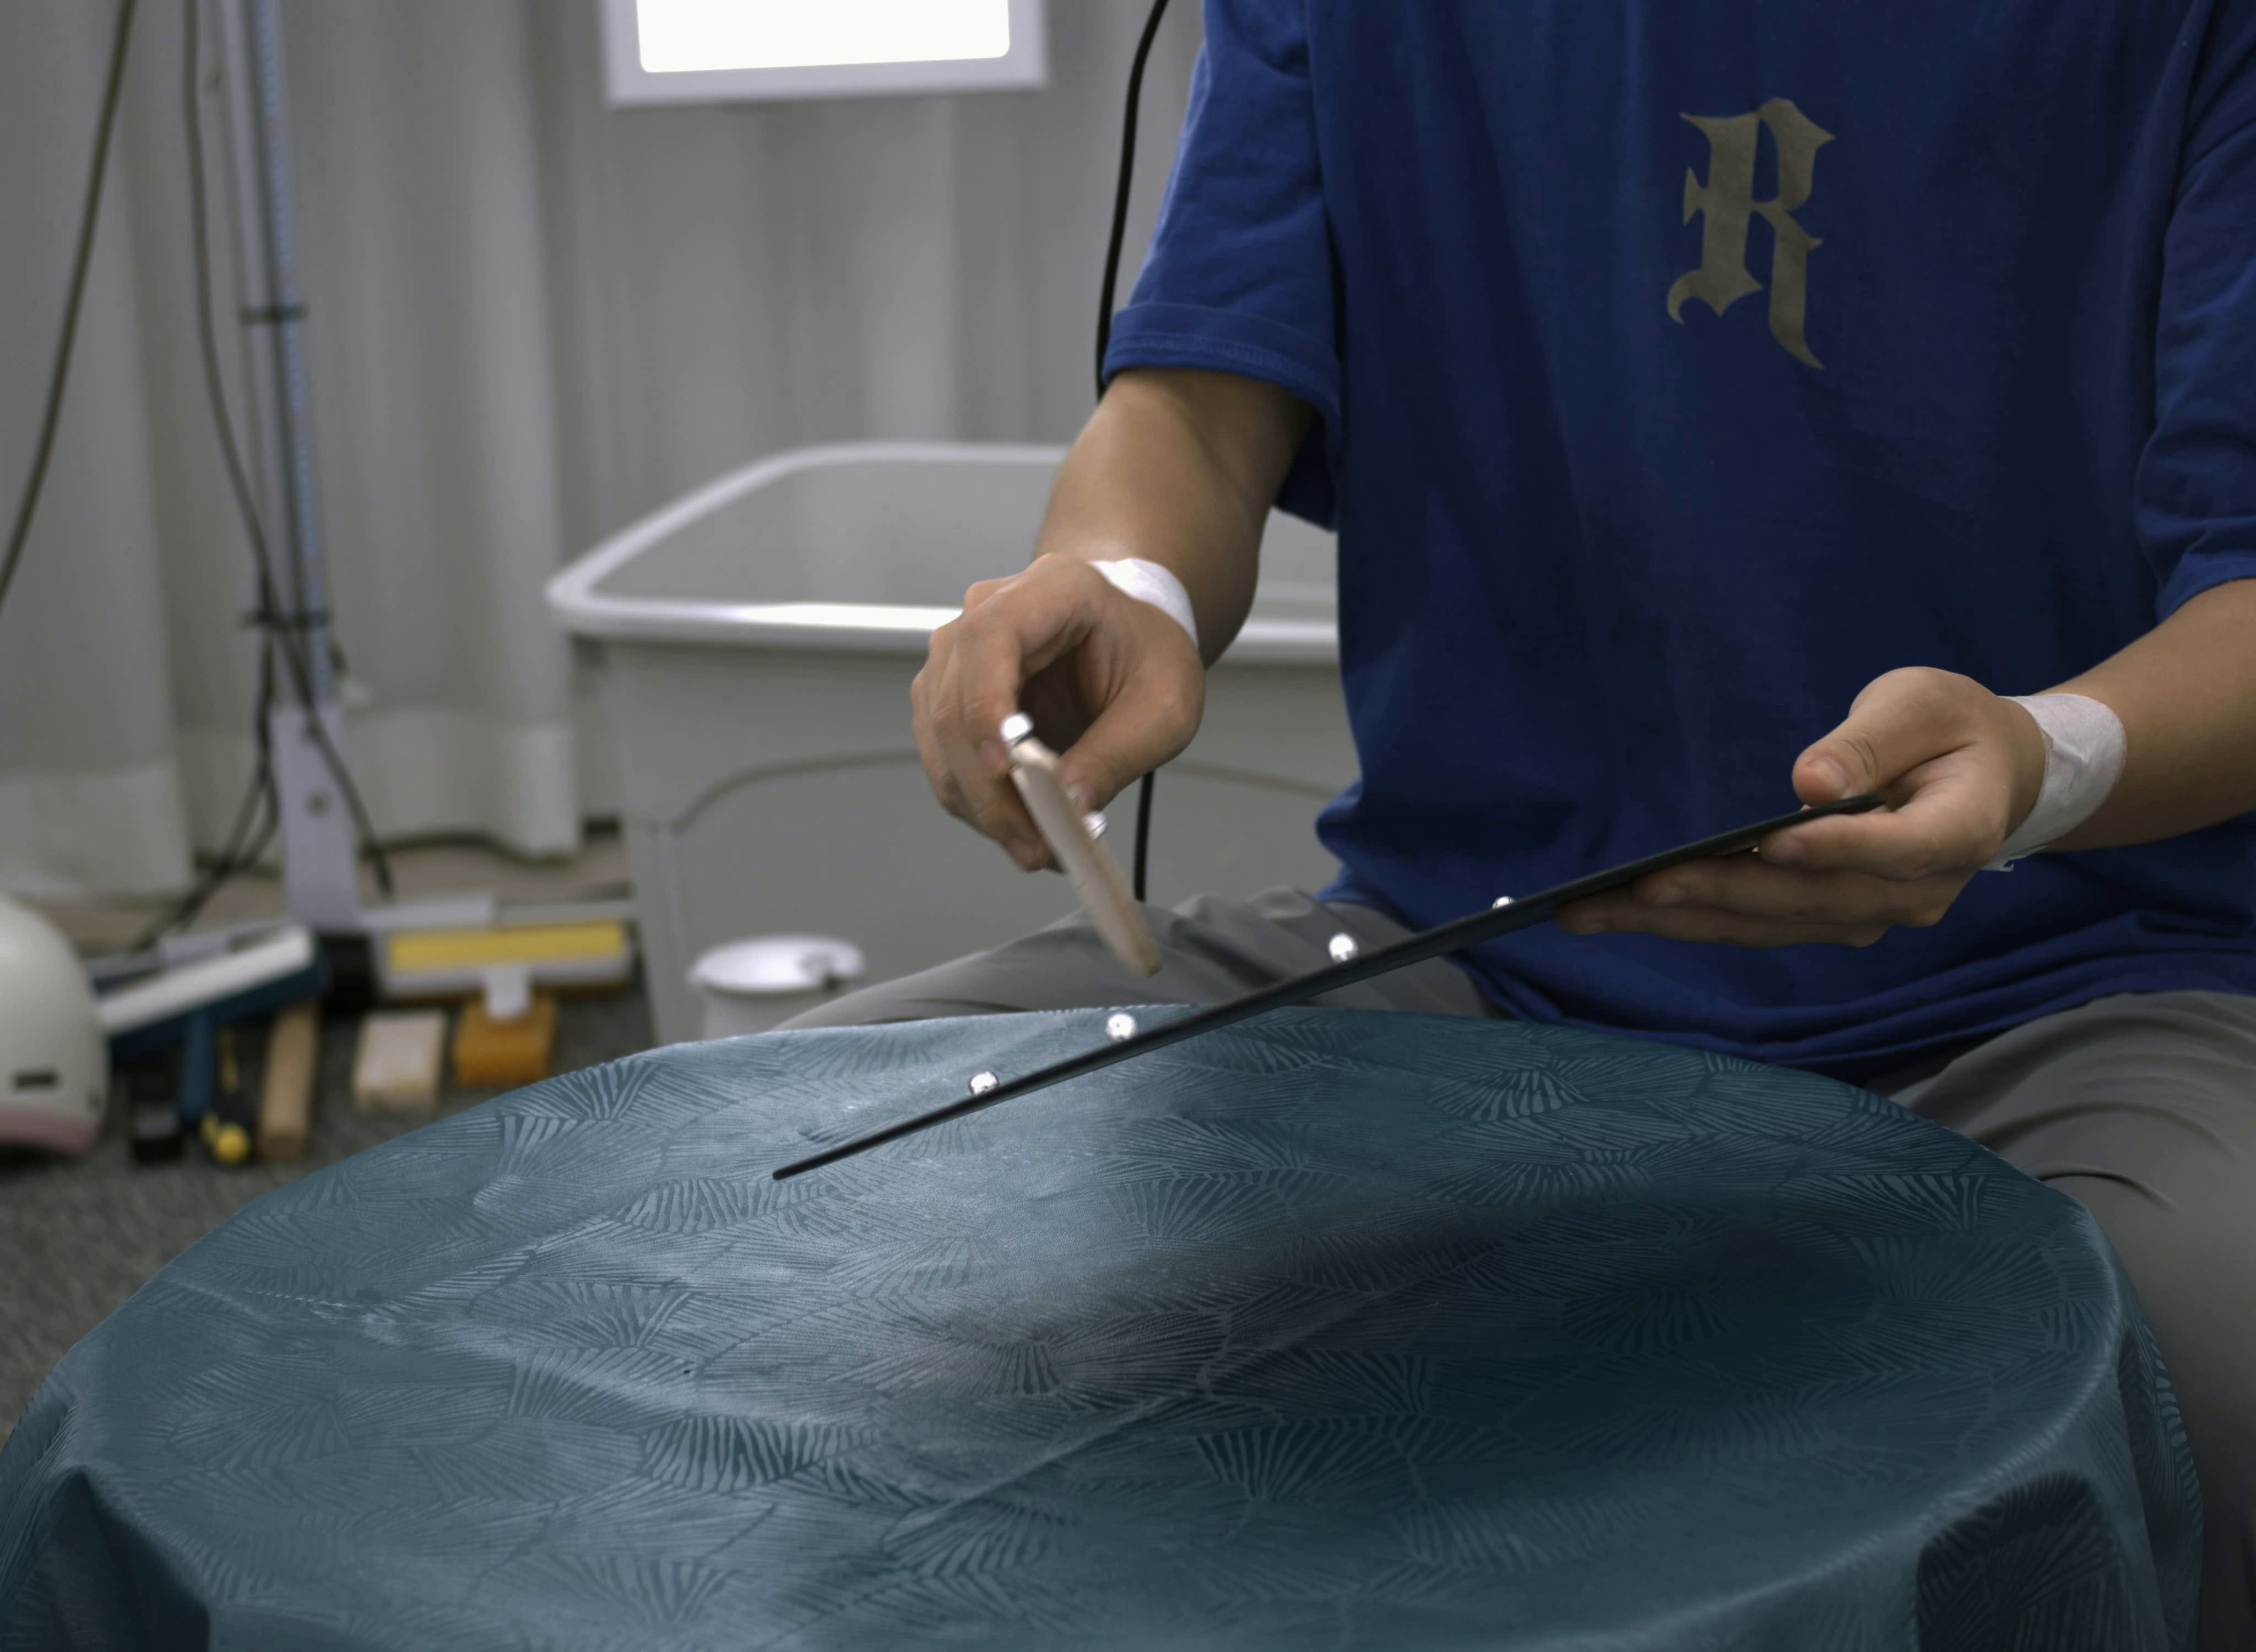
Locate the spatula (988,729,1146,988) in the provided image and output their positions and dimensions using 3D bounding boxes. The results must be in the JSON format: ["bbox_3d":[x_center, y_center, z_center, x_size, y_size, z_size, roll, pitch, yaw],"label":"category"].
[{"bbox_3d":[-0.027,-0.003,1.675,0.010,0.072,0.294,-28,9,-1],"label":"spatula"}]

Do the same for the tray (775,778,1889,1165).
[{"bbox_3d":[0.065,0.040,1.565,0.324,0.010,0.210,-17,-4,-31],"label":"tray"}]
